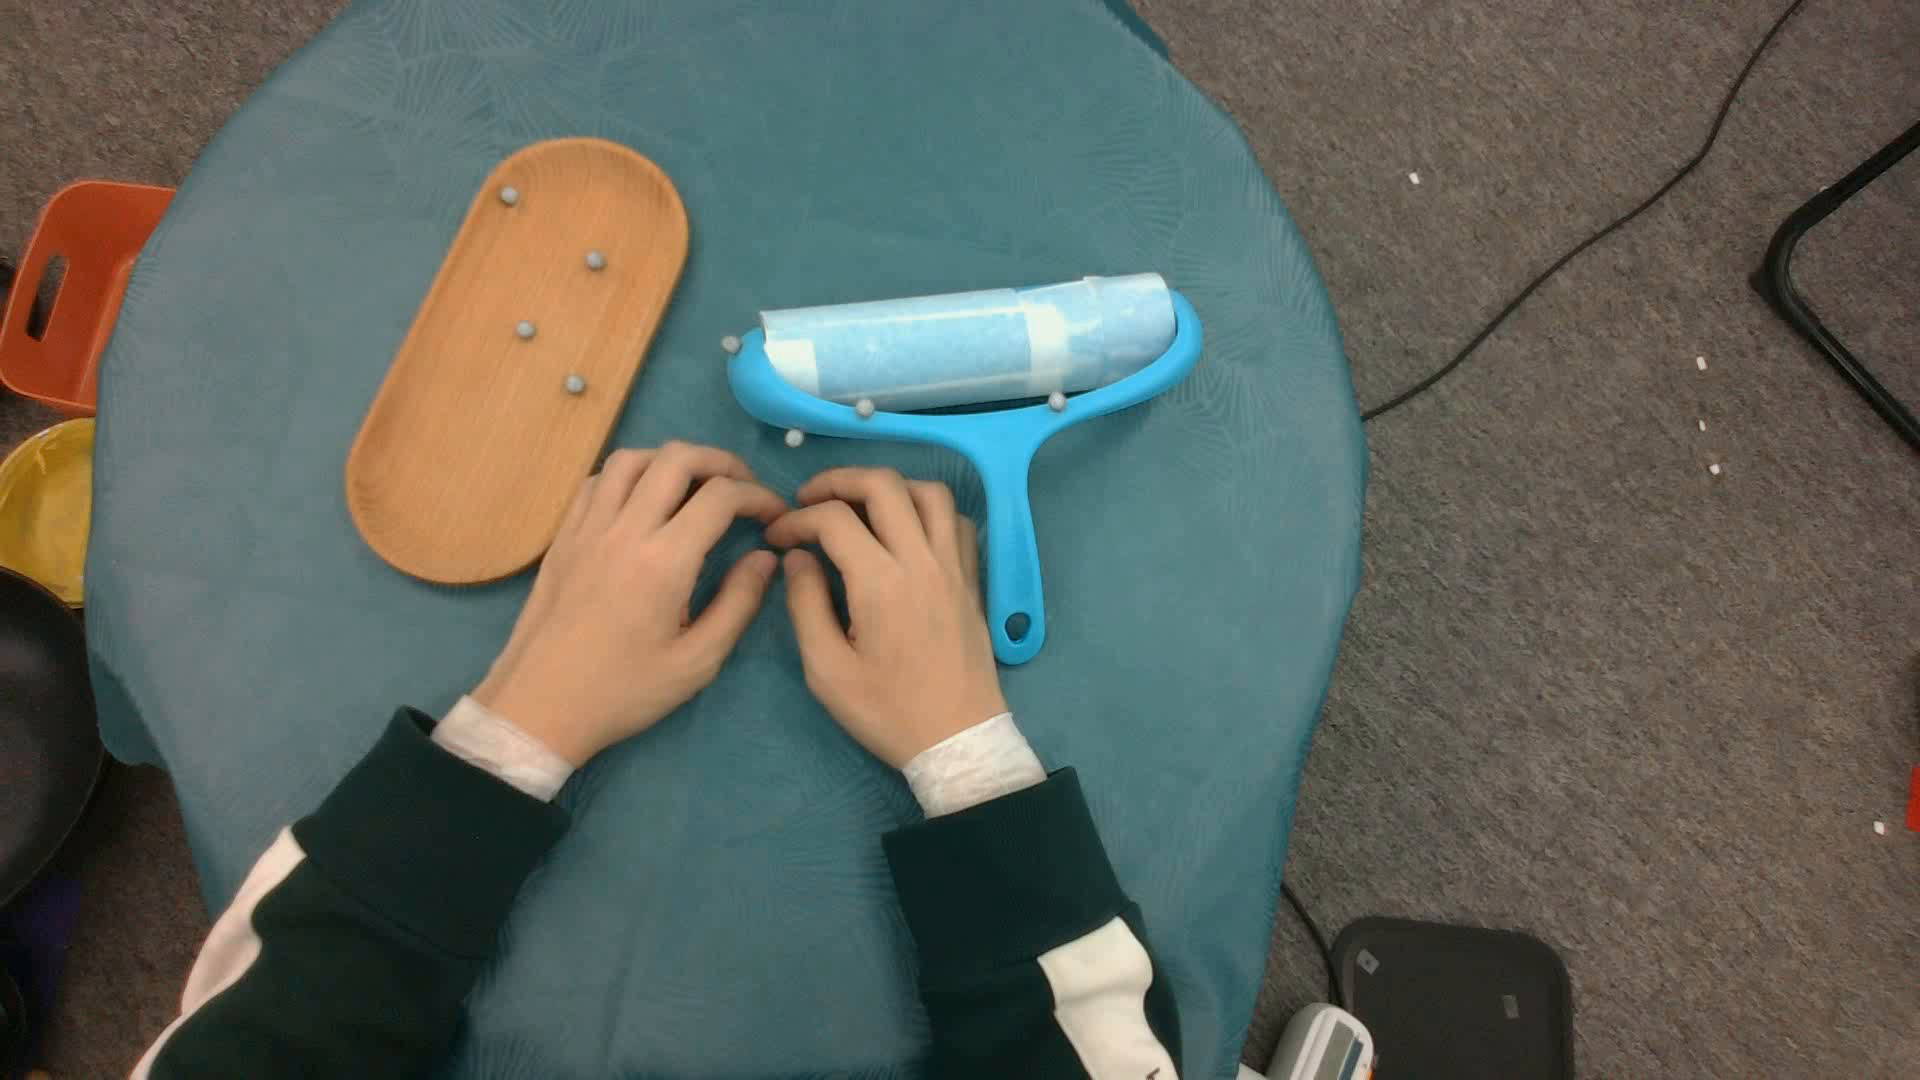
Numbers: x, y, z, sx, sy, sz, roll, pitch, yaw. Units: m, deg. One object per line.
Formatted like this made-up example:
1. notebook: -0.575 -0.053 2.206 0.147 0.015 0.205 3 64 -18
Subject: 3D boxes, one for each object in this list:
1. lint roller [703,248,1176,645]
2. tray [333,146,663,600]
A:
1. lint roller: 0.008 -0.044 0.643 0.229 0.067 0.180 -12 75 -13
2. tray: -0.211 -0.082 0.642 0.102 0.020 0.232 16 73 -2
